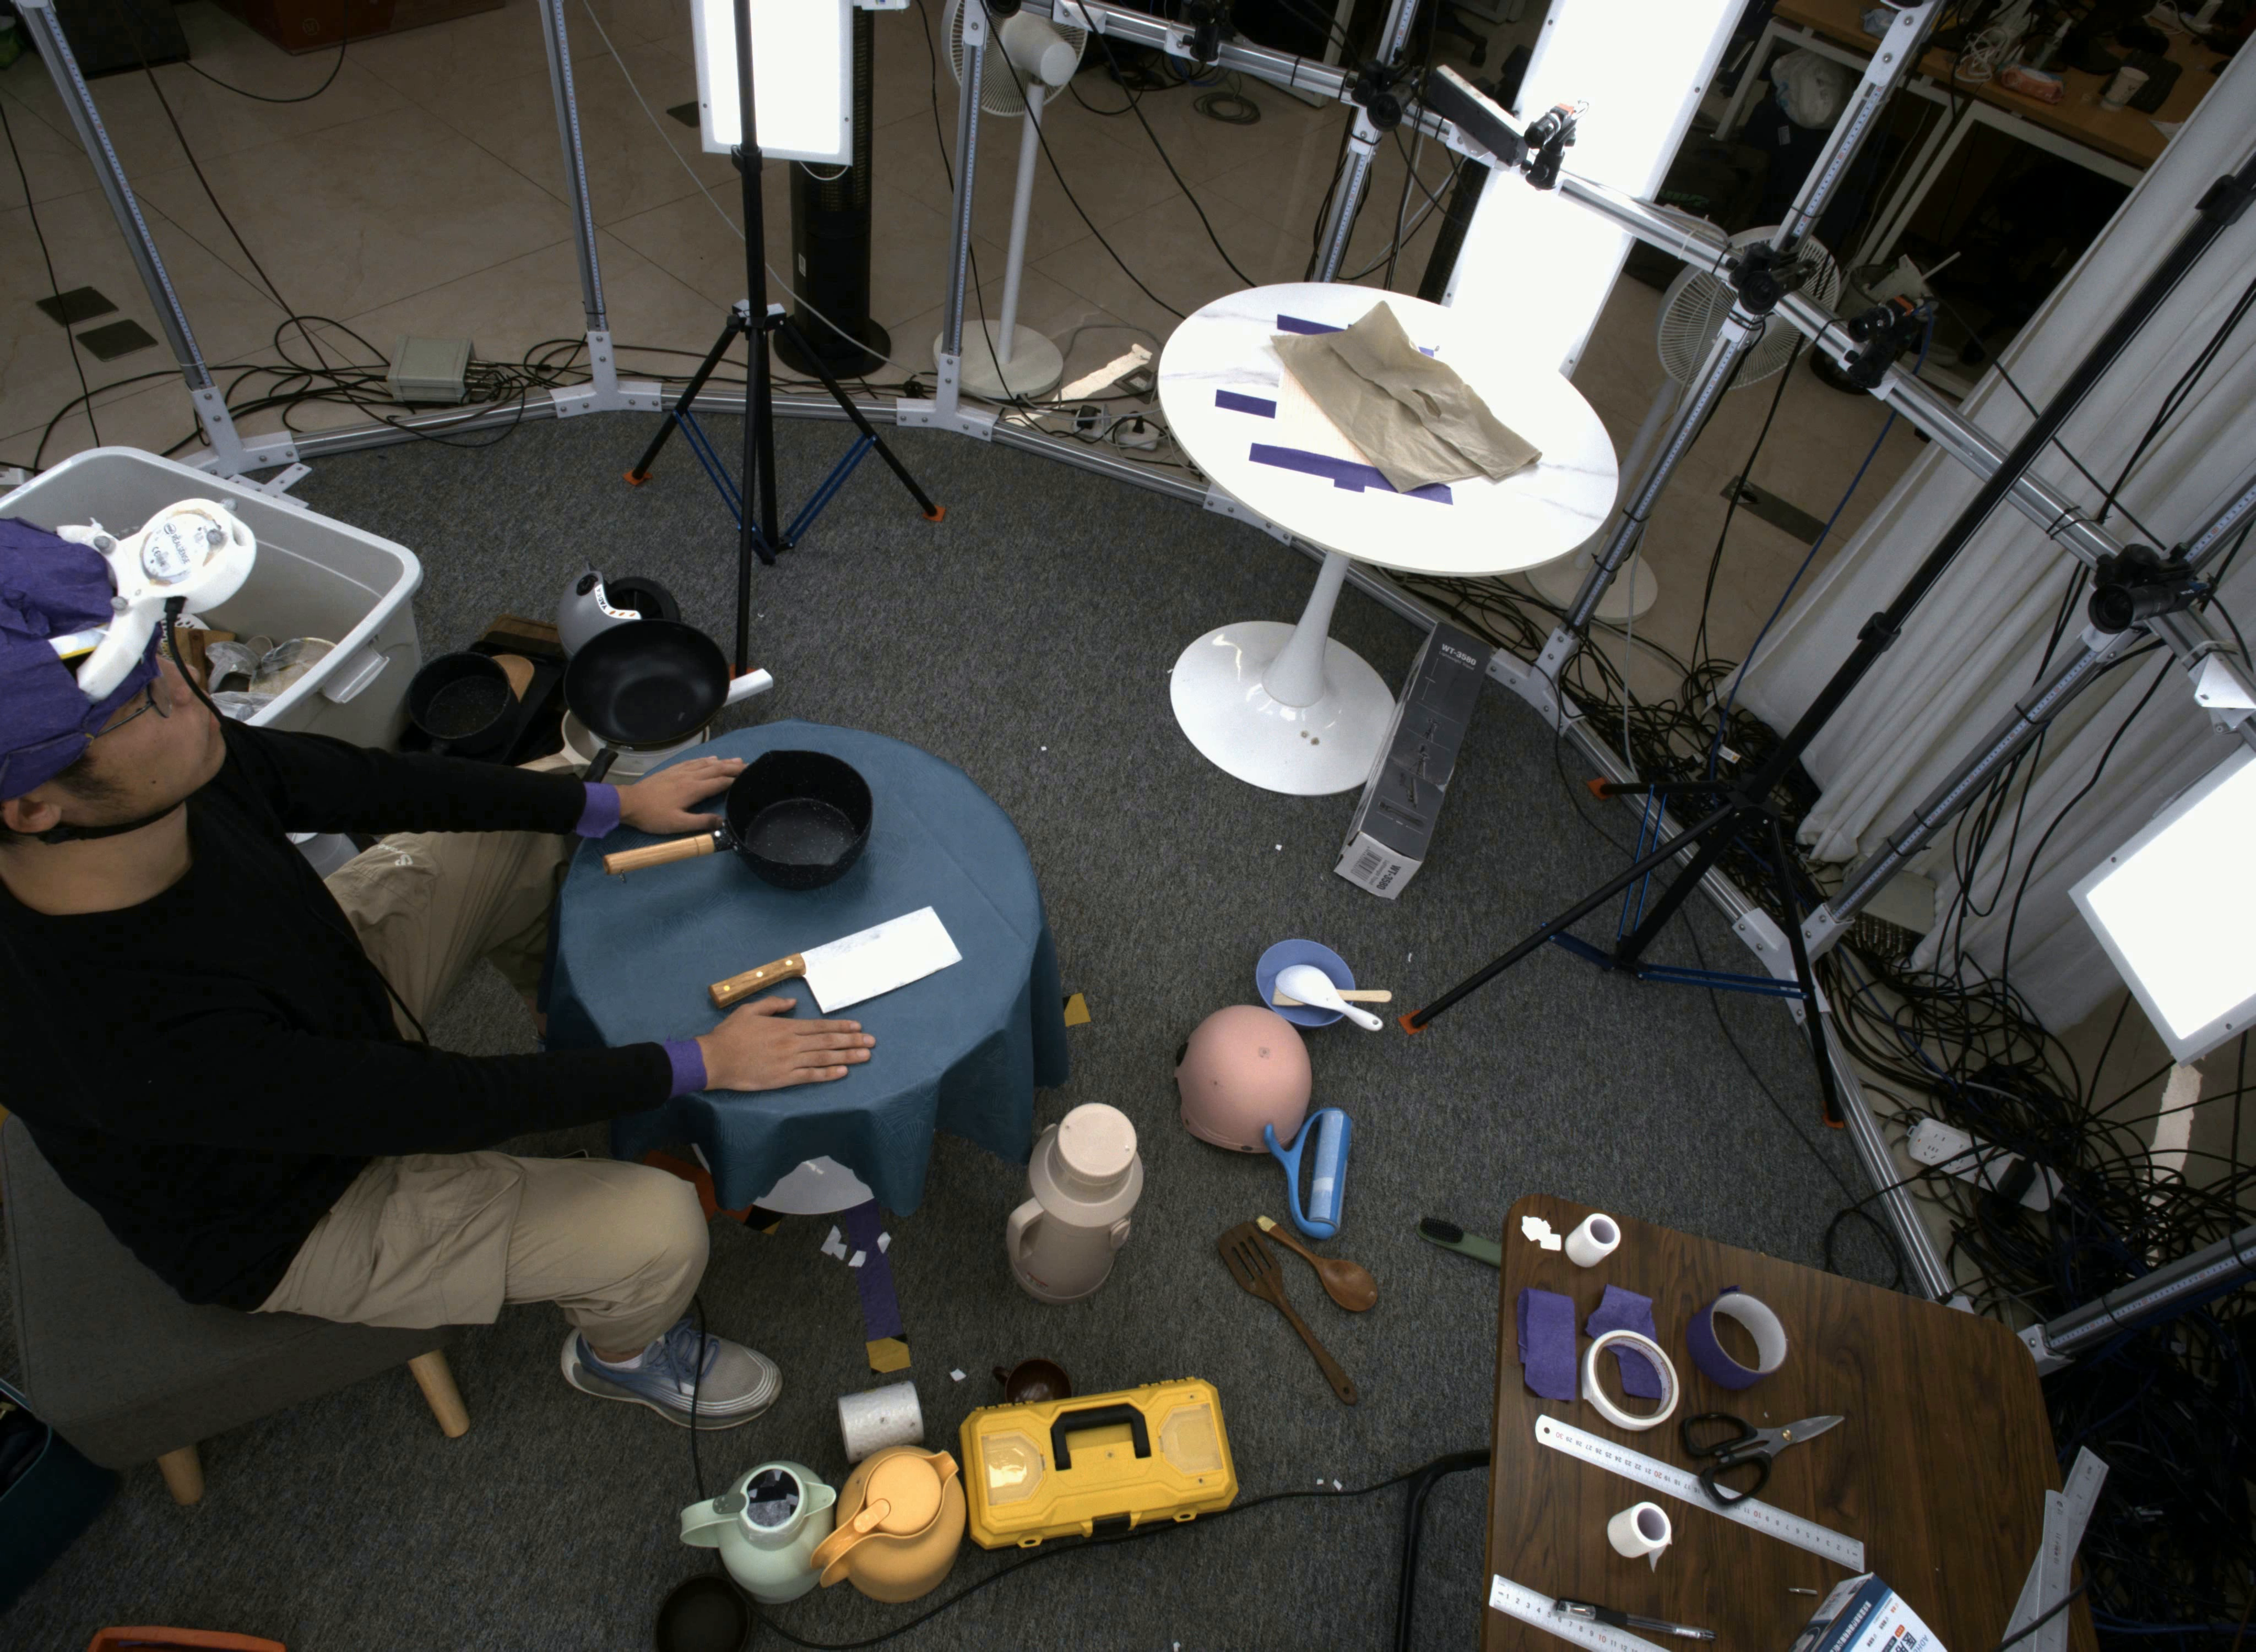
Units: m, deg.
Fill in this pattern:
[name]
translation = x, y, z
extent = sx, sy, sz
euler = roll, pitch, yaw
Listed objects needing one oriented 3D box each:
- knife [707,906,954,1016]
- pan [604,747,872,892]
[knife]
translation = -0.357, 0.179, 1.595
extent = 0.307, 0.021, 0.091
euler = -21, 62, -30
[pan]
translation = -0.486, 0.018, 1.623
extent = 0.344, 0.110, 0.202
euler = -23, 62, -29
